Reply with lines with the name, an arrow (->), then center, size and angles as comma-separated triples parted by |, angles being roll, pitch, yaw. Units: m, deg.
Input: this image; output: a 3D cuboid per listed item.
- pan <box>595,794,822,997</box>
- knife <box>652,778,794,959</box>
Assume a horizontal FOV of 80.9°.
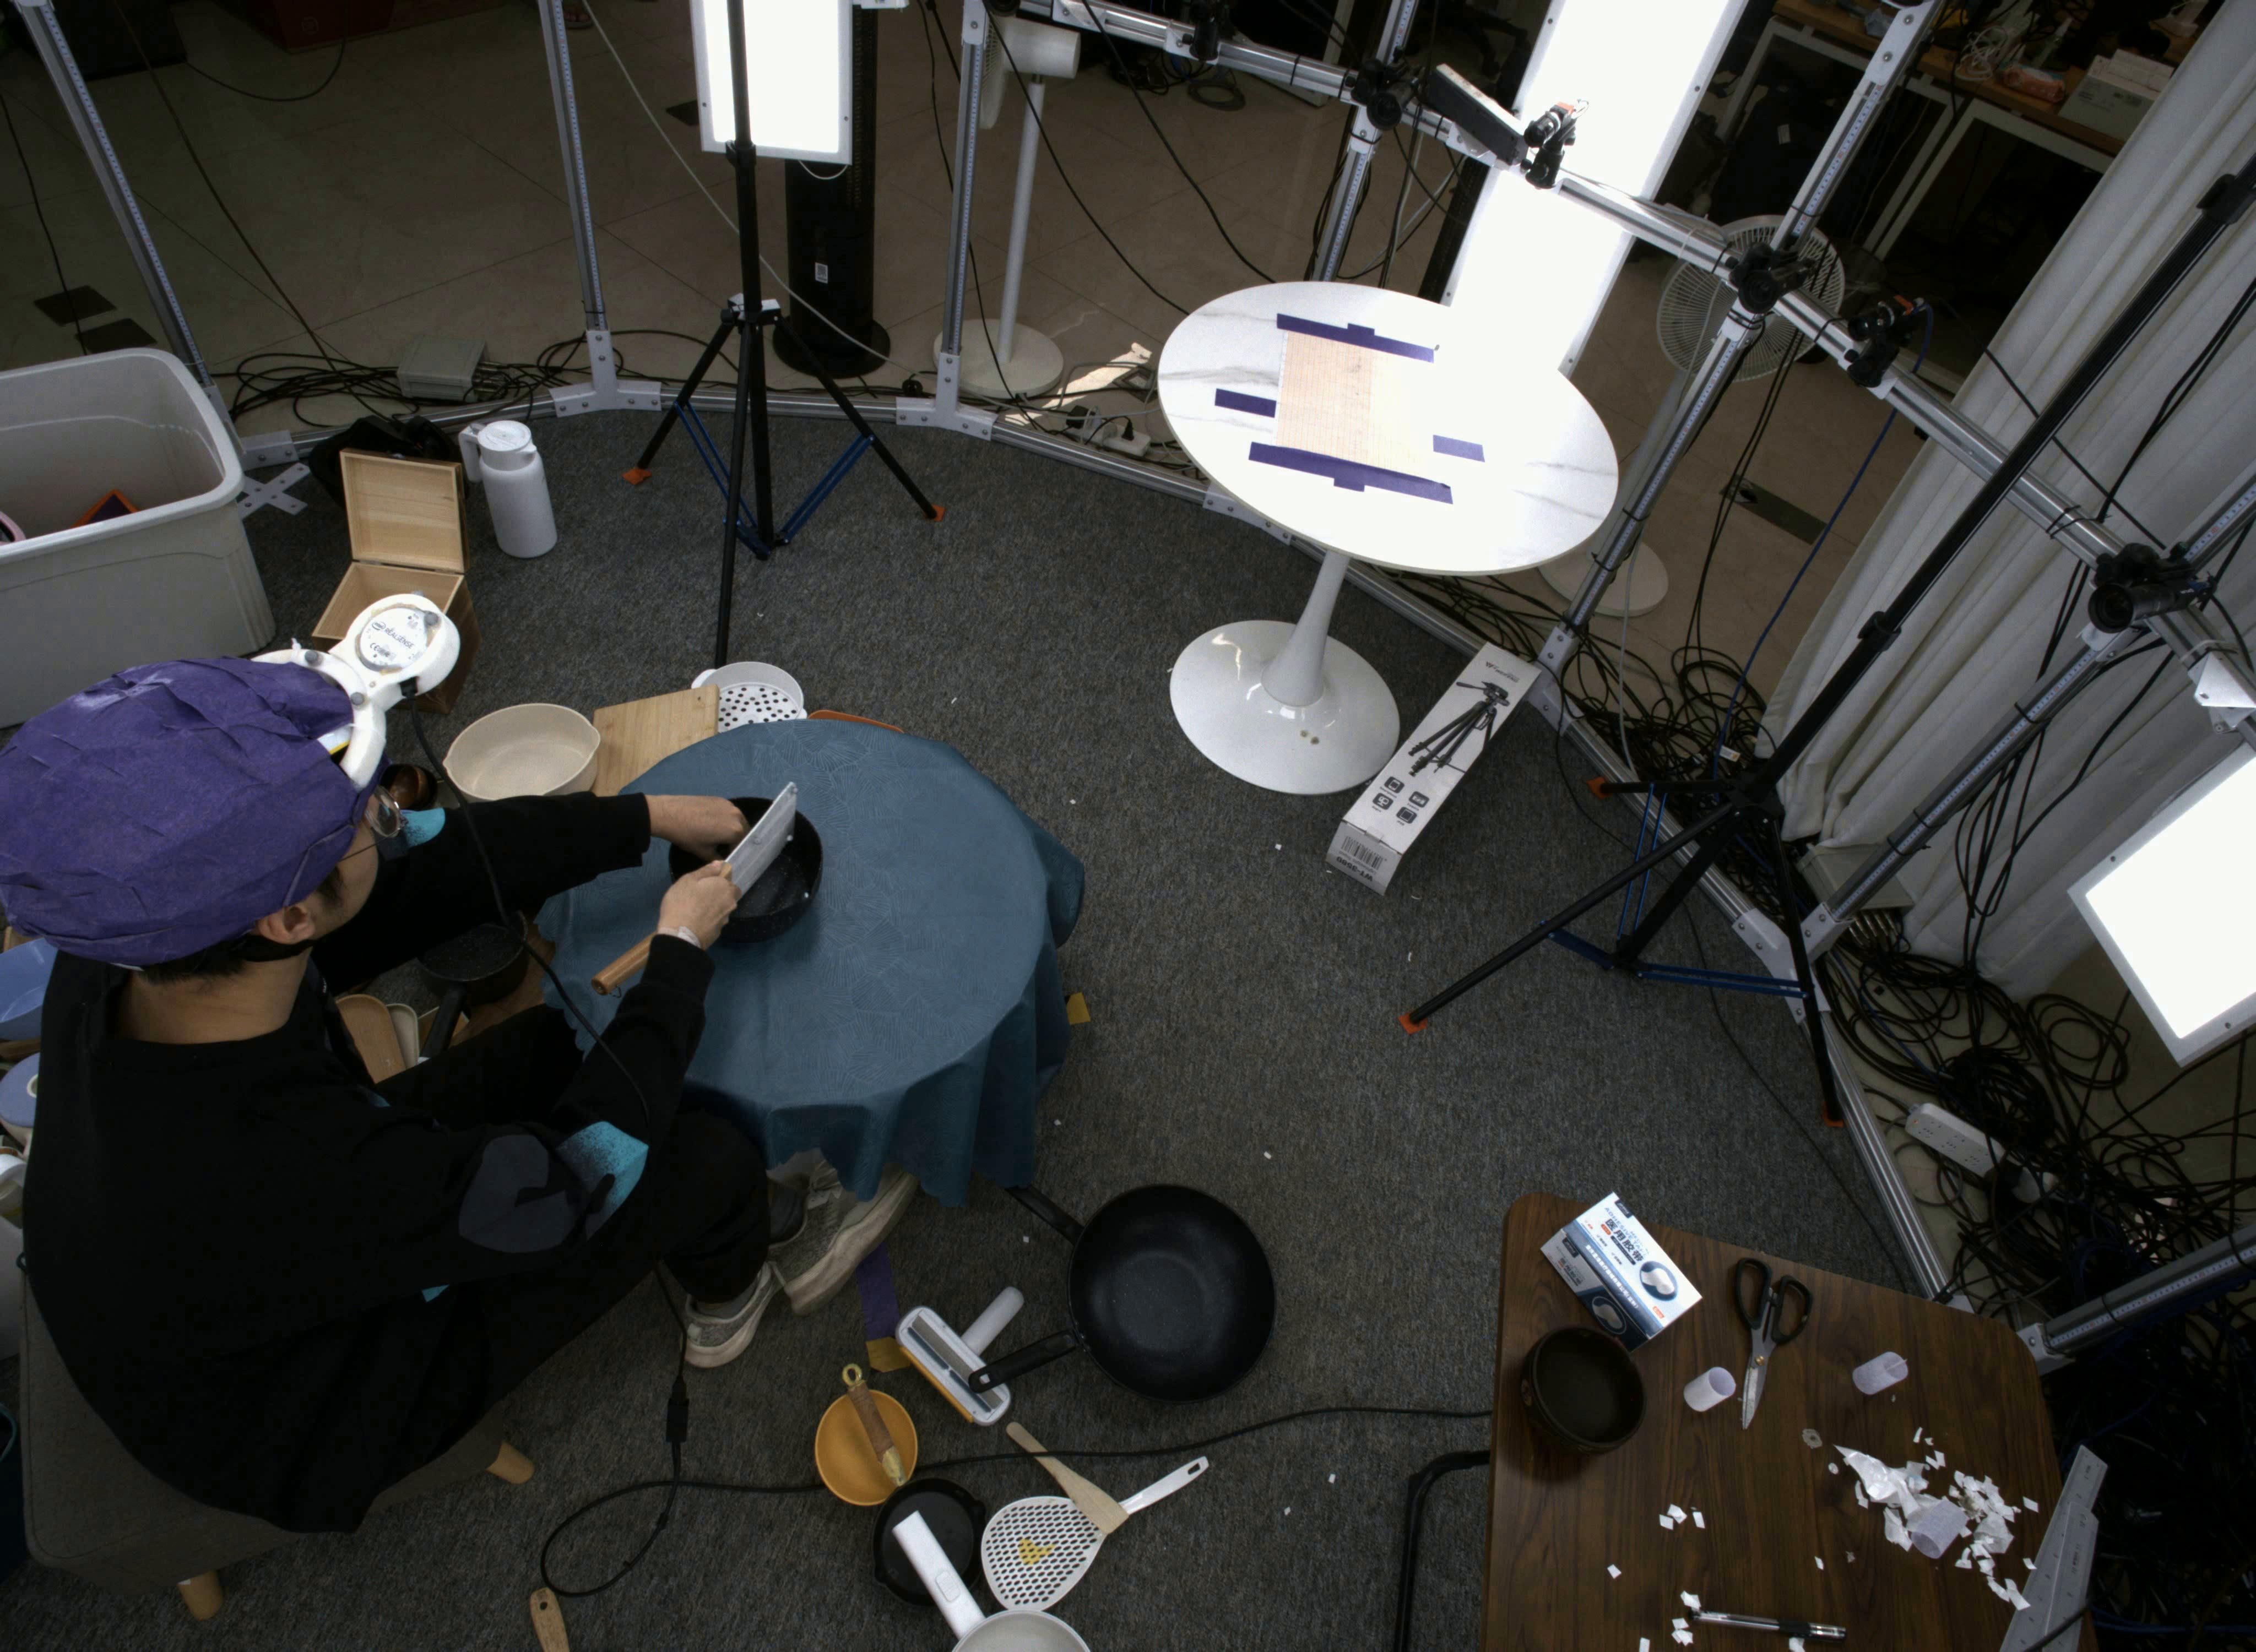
pan -> -0.508, 0.102, 1.544 | 0.204, 0.110, 0.341 | 30, 51, 8
knife -> -0.459, 0.050, 1.497 | 0.021, 0.117, 0.312 | 17, 33, 6
